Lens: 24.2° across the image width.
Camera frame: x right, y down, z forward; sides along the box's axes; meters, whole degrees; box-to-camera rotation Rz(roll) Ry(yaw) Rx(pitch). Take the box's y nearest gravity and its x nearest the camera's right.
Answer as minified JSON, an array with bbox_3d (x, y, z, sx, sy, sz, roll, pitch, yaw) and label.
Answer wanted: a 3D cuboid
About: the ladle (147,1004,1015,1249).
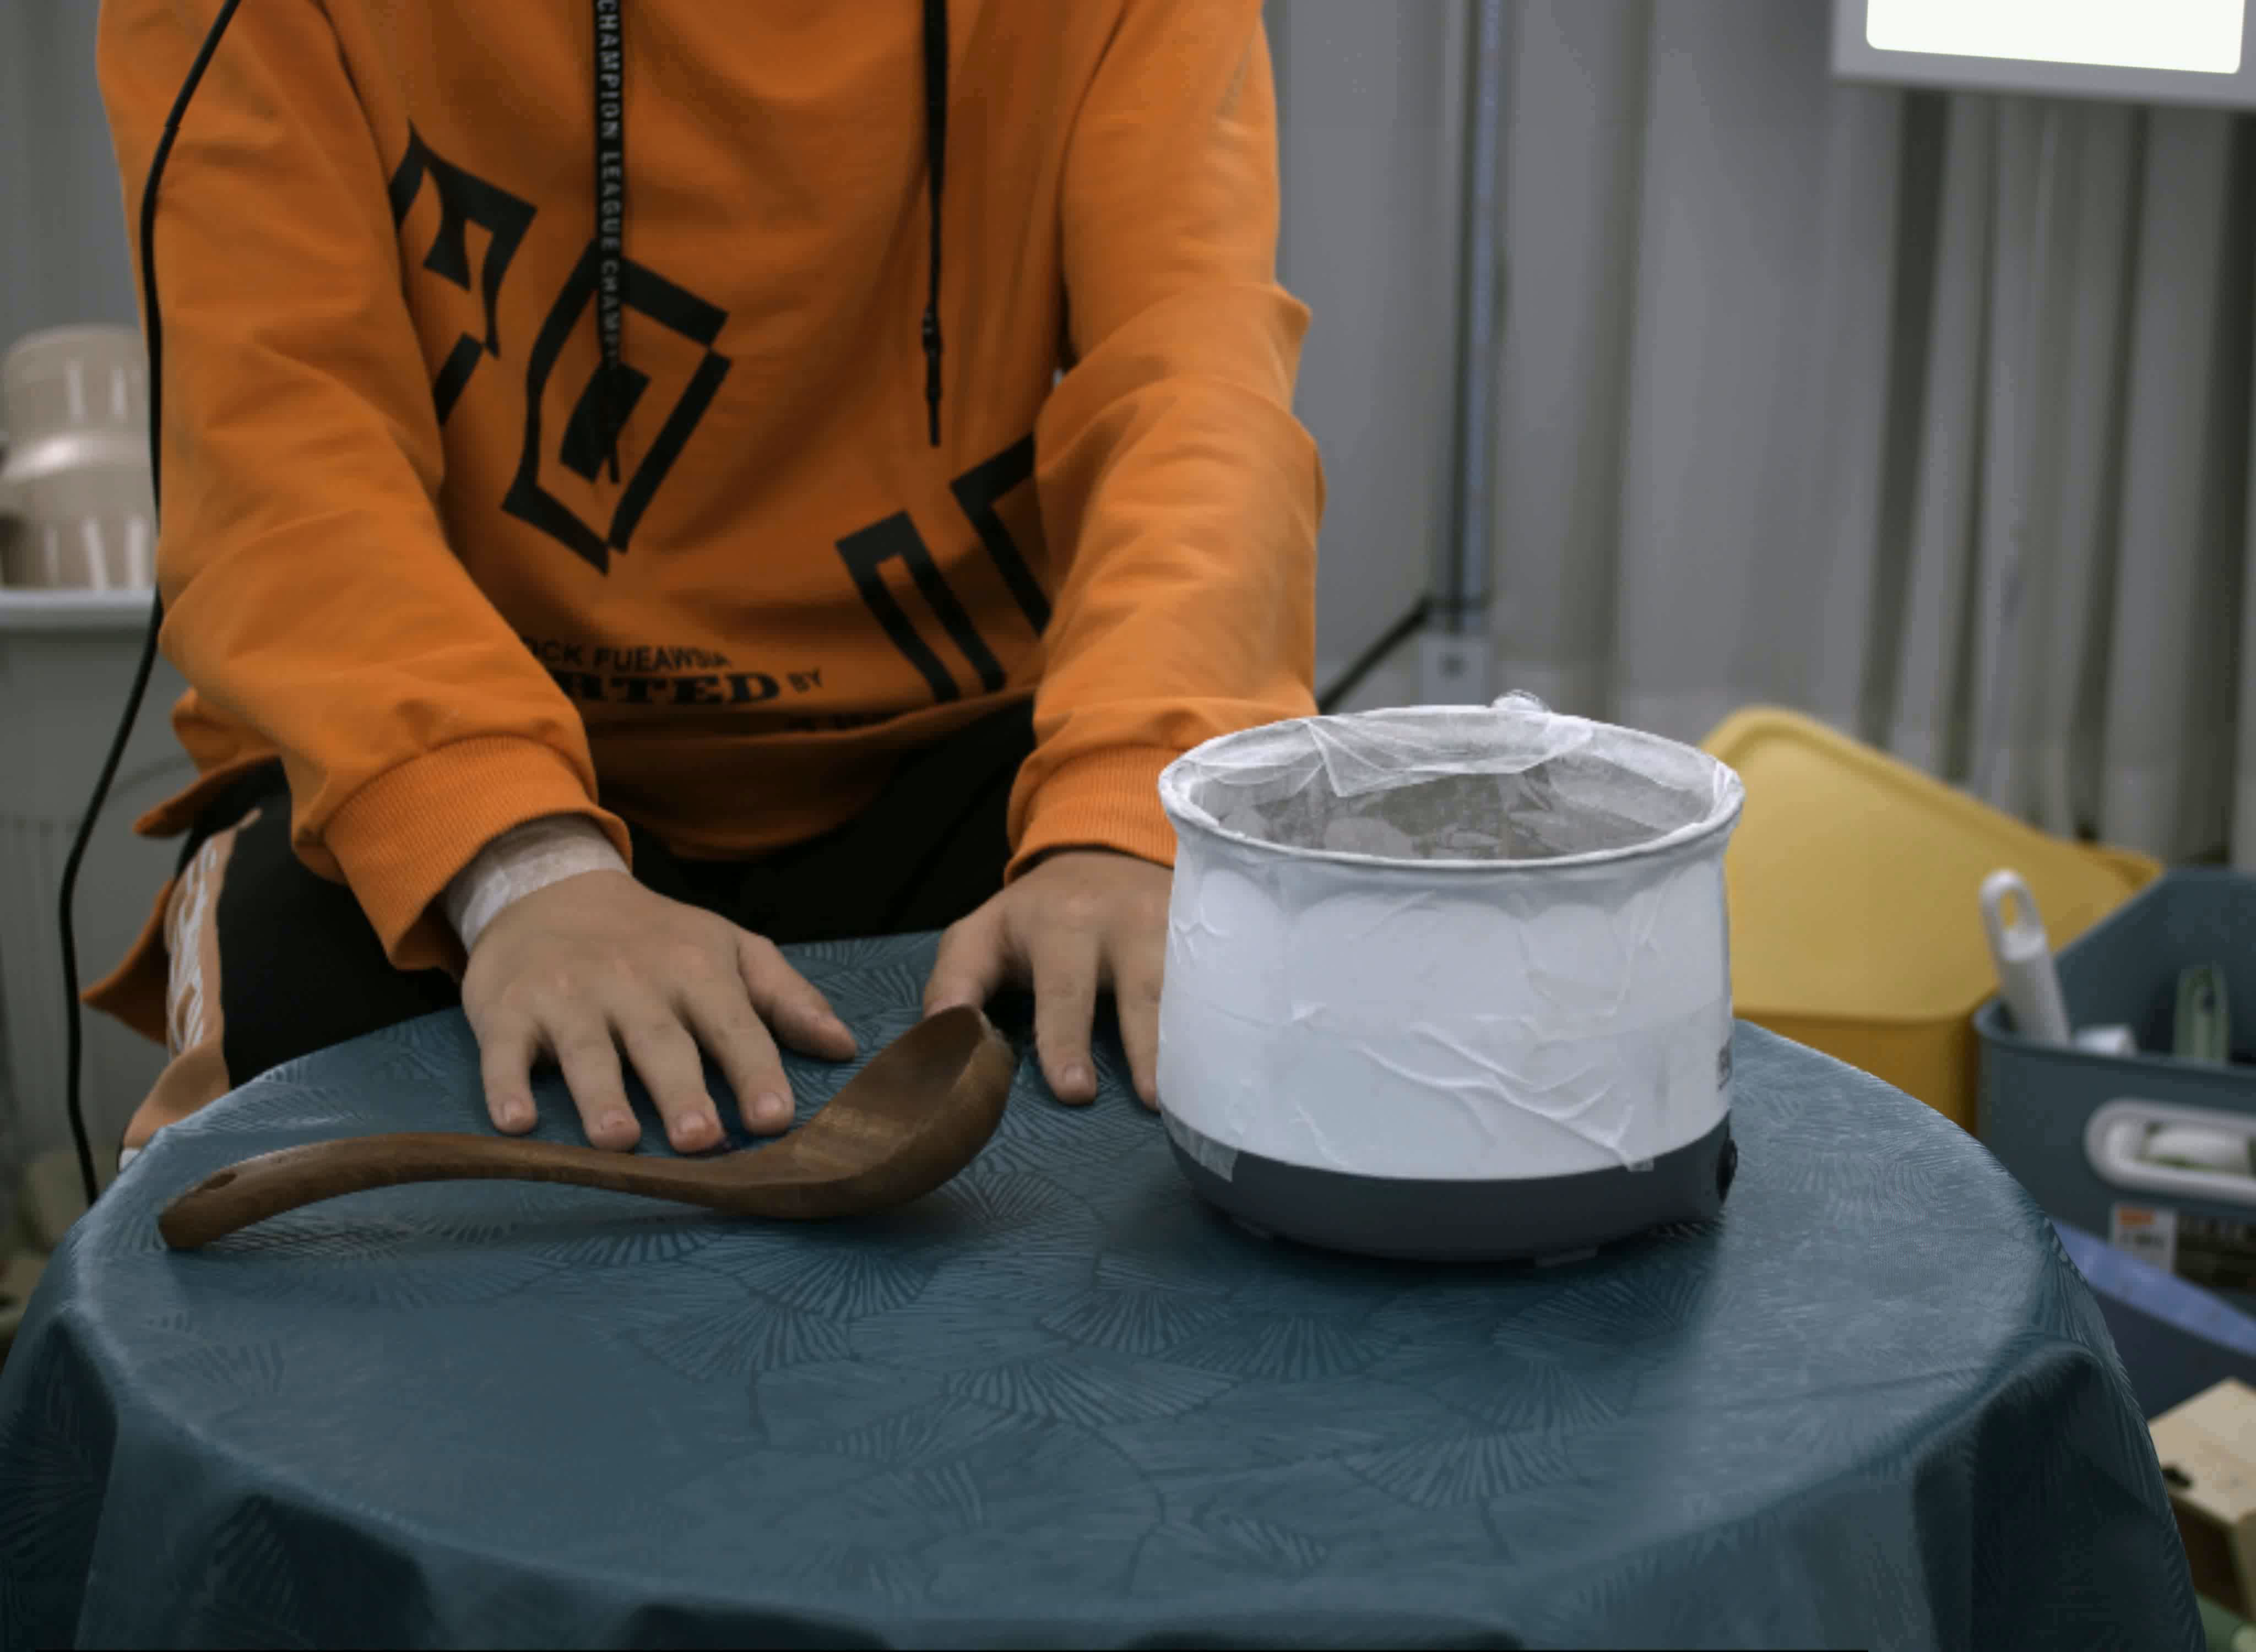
[{"bbox_3d":[-0.163,0.090,1.579,0.260,0.065,0.076,-1,13,-8],"label":"ladle"}]

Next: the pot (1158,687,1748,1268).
[{"bbox_3d":[0.104,0.040,1.626,0.177,0.138,0.233,5,17,13],"label":"pot"}]
